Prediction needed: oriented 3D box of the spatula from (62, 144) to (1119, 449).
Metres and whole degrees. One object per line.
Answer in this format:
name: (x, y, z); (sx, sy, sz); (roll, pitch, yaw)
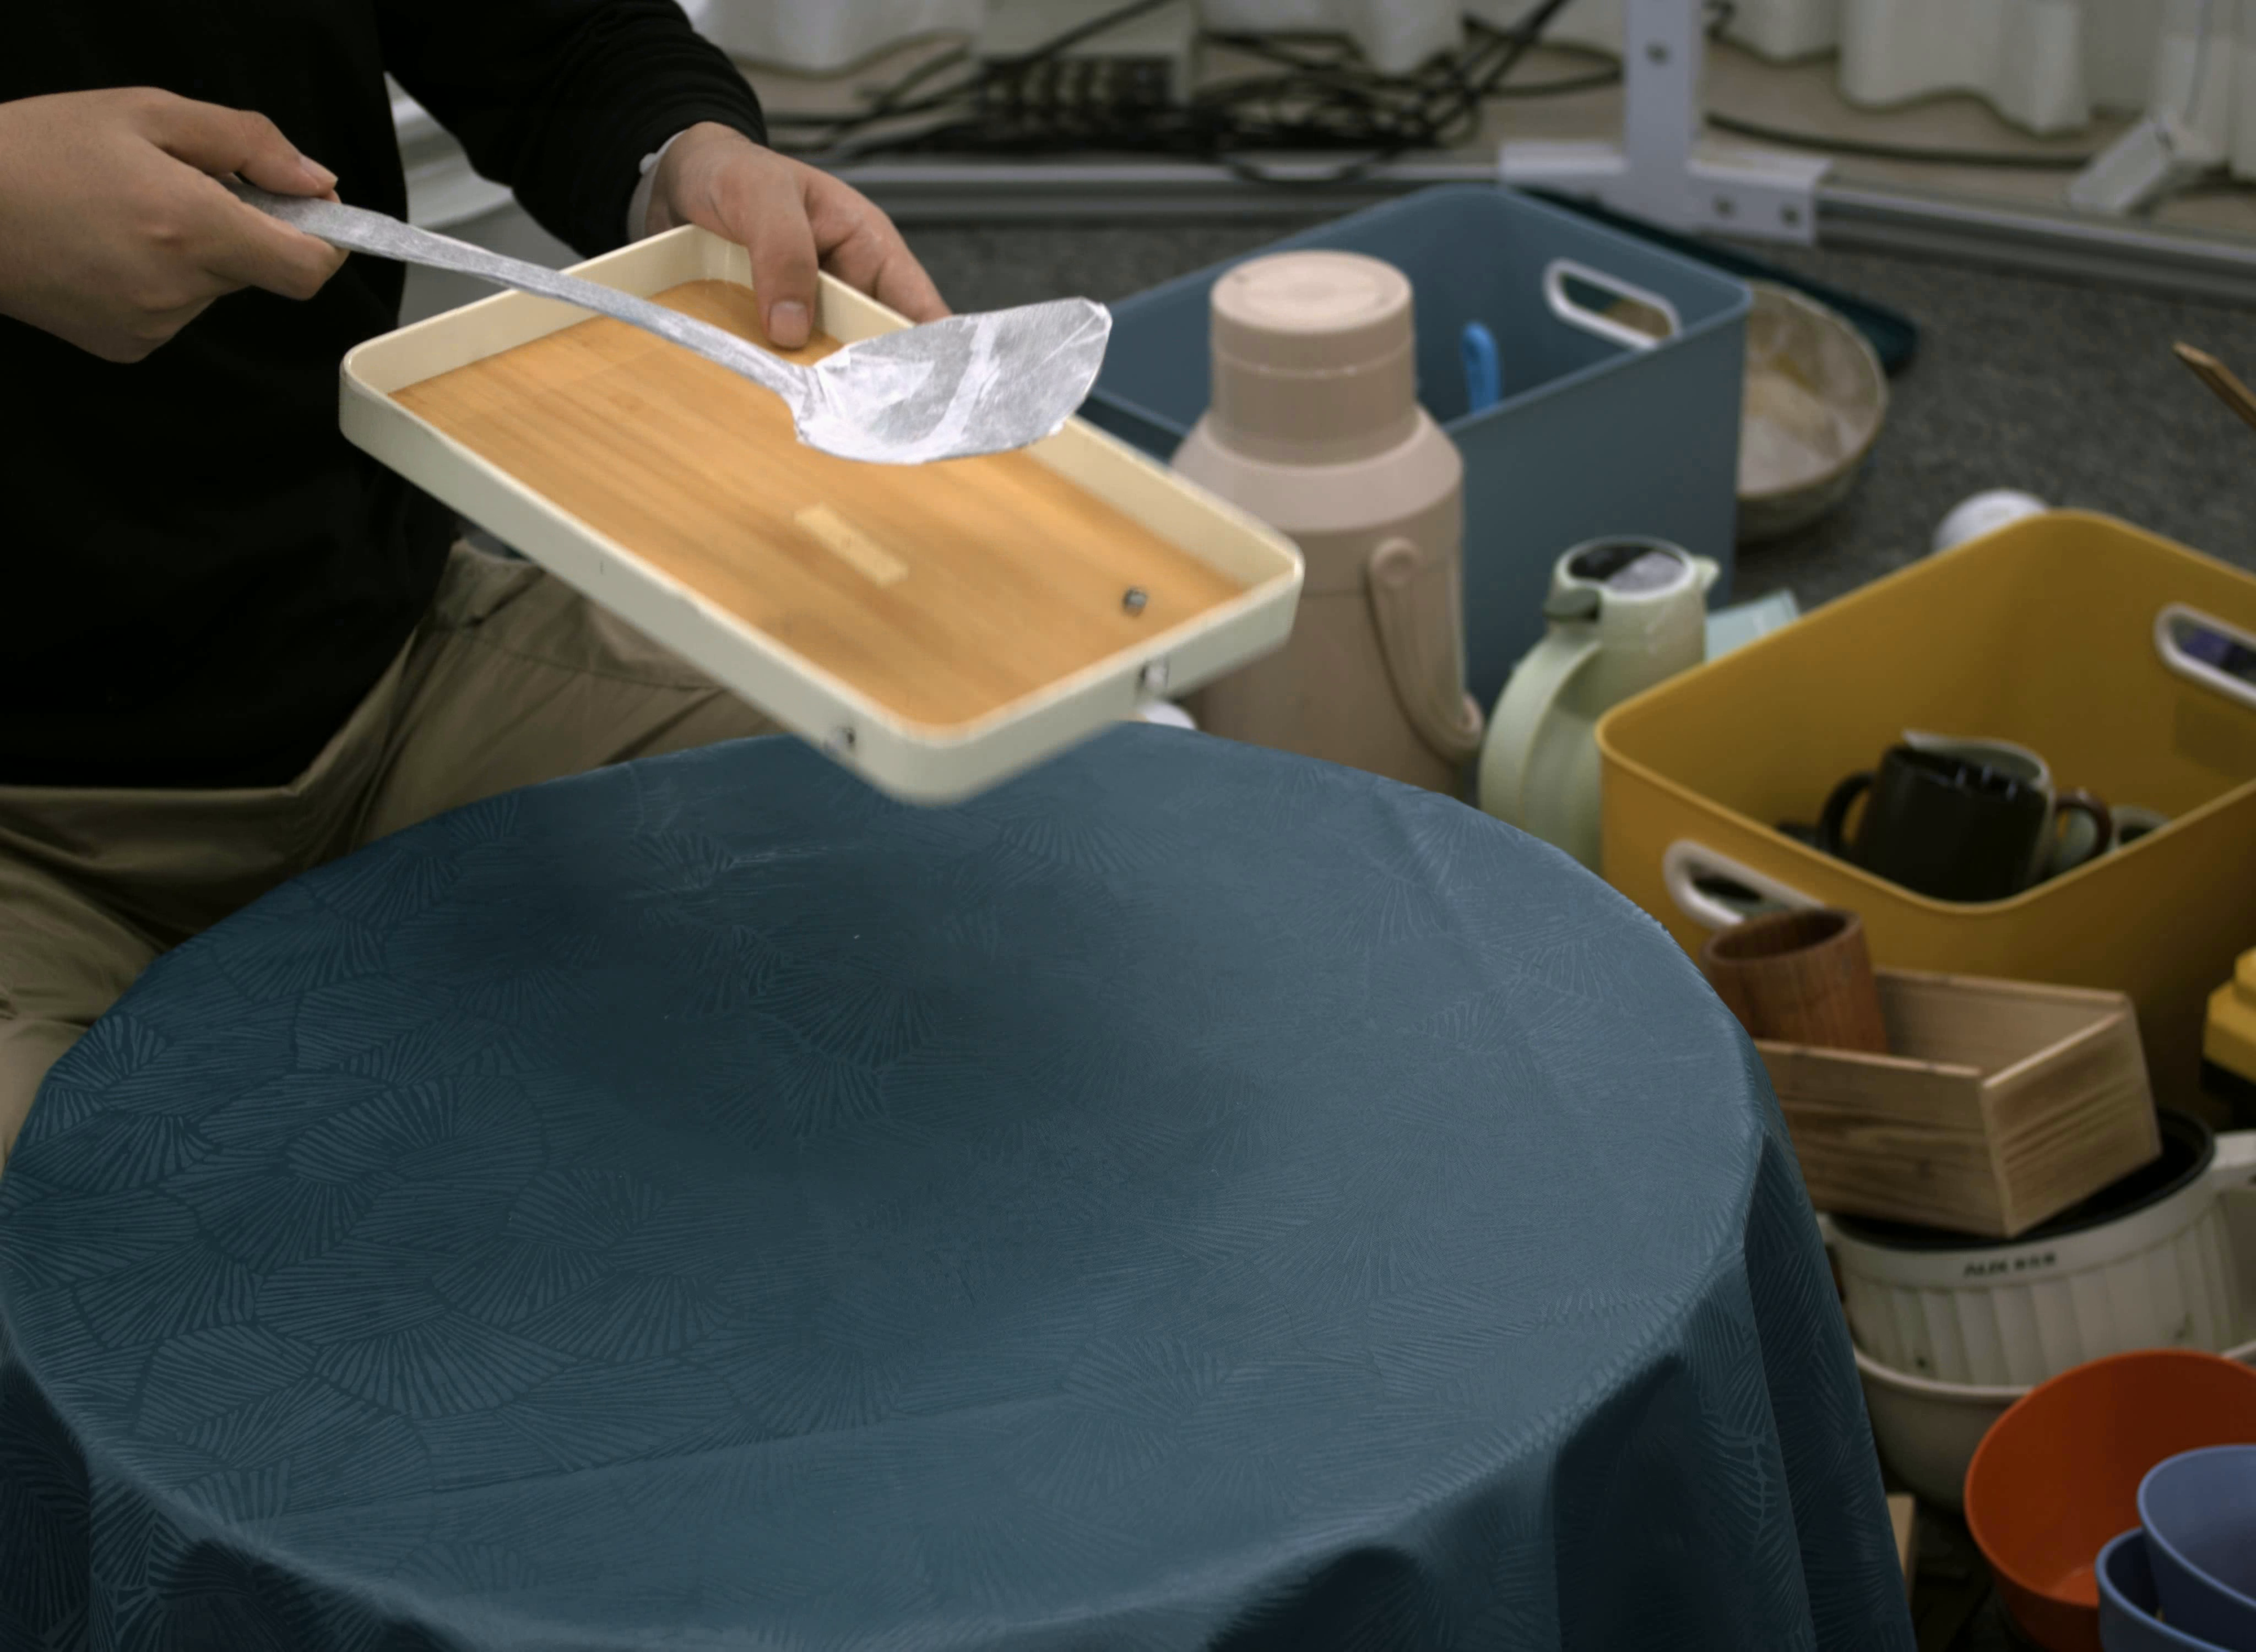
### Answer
spatula: (-0.183, -0.183, 1.840); (0.363, 0.044, 0.100); (16, 38, 7)

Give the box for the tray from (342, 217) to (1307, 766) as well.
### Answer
tray: (-0.105, -0.118, 1.909); (0.300, 0.027, 0.194); (31, 39, 33)
